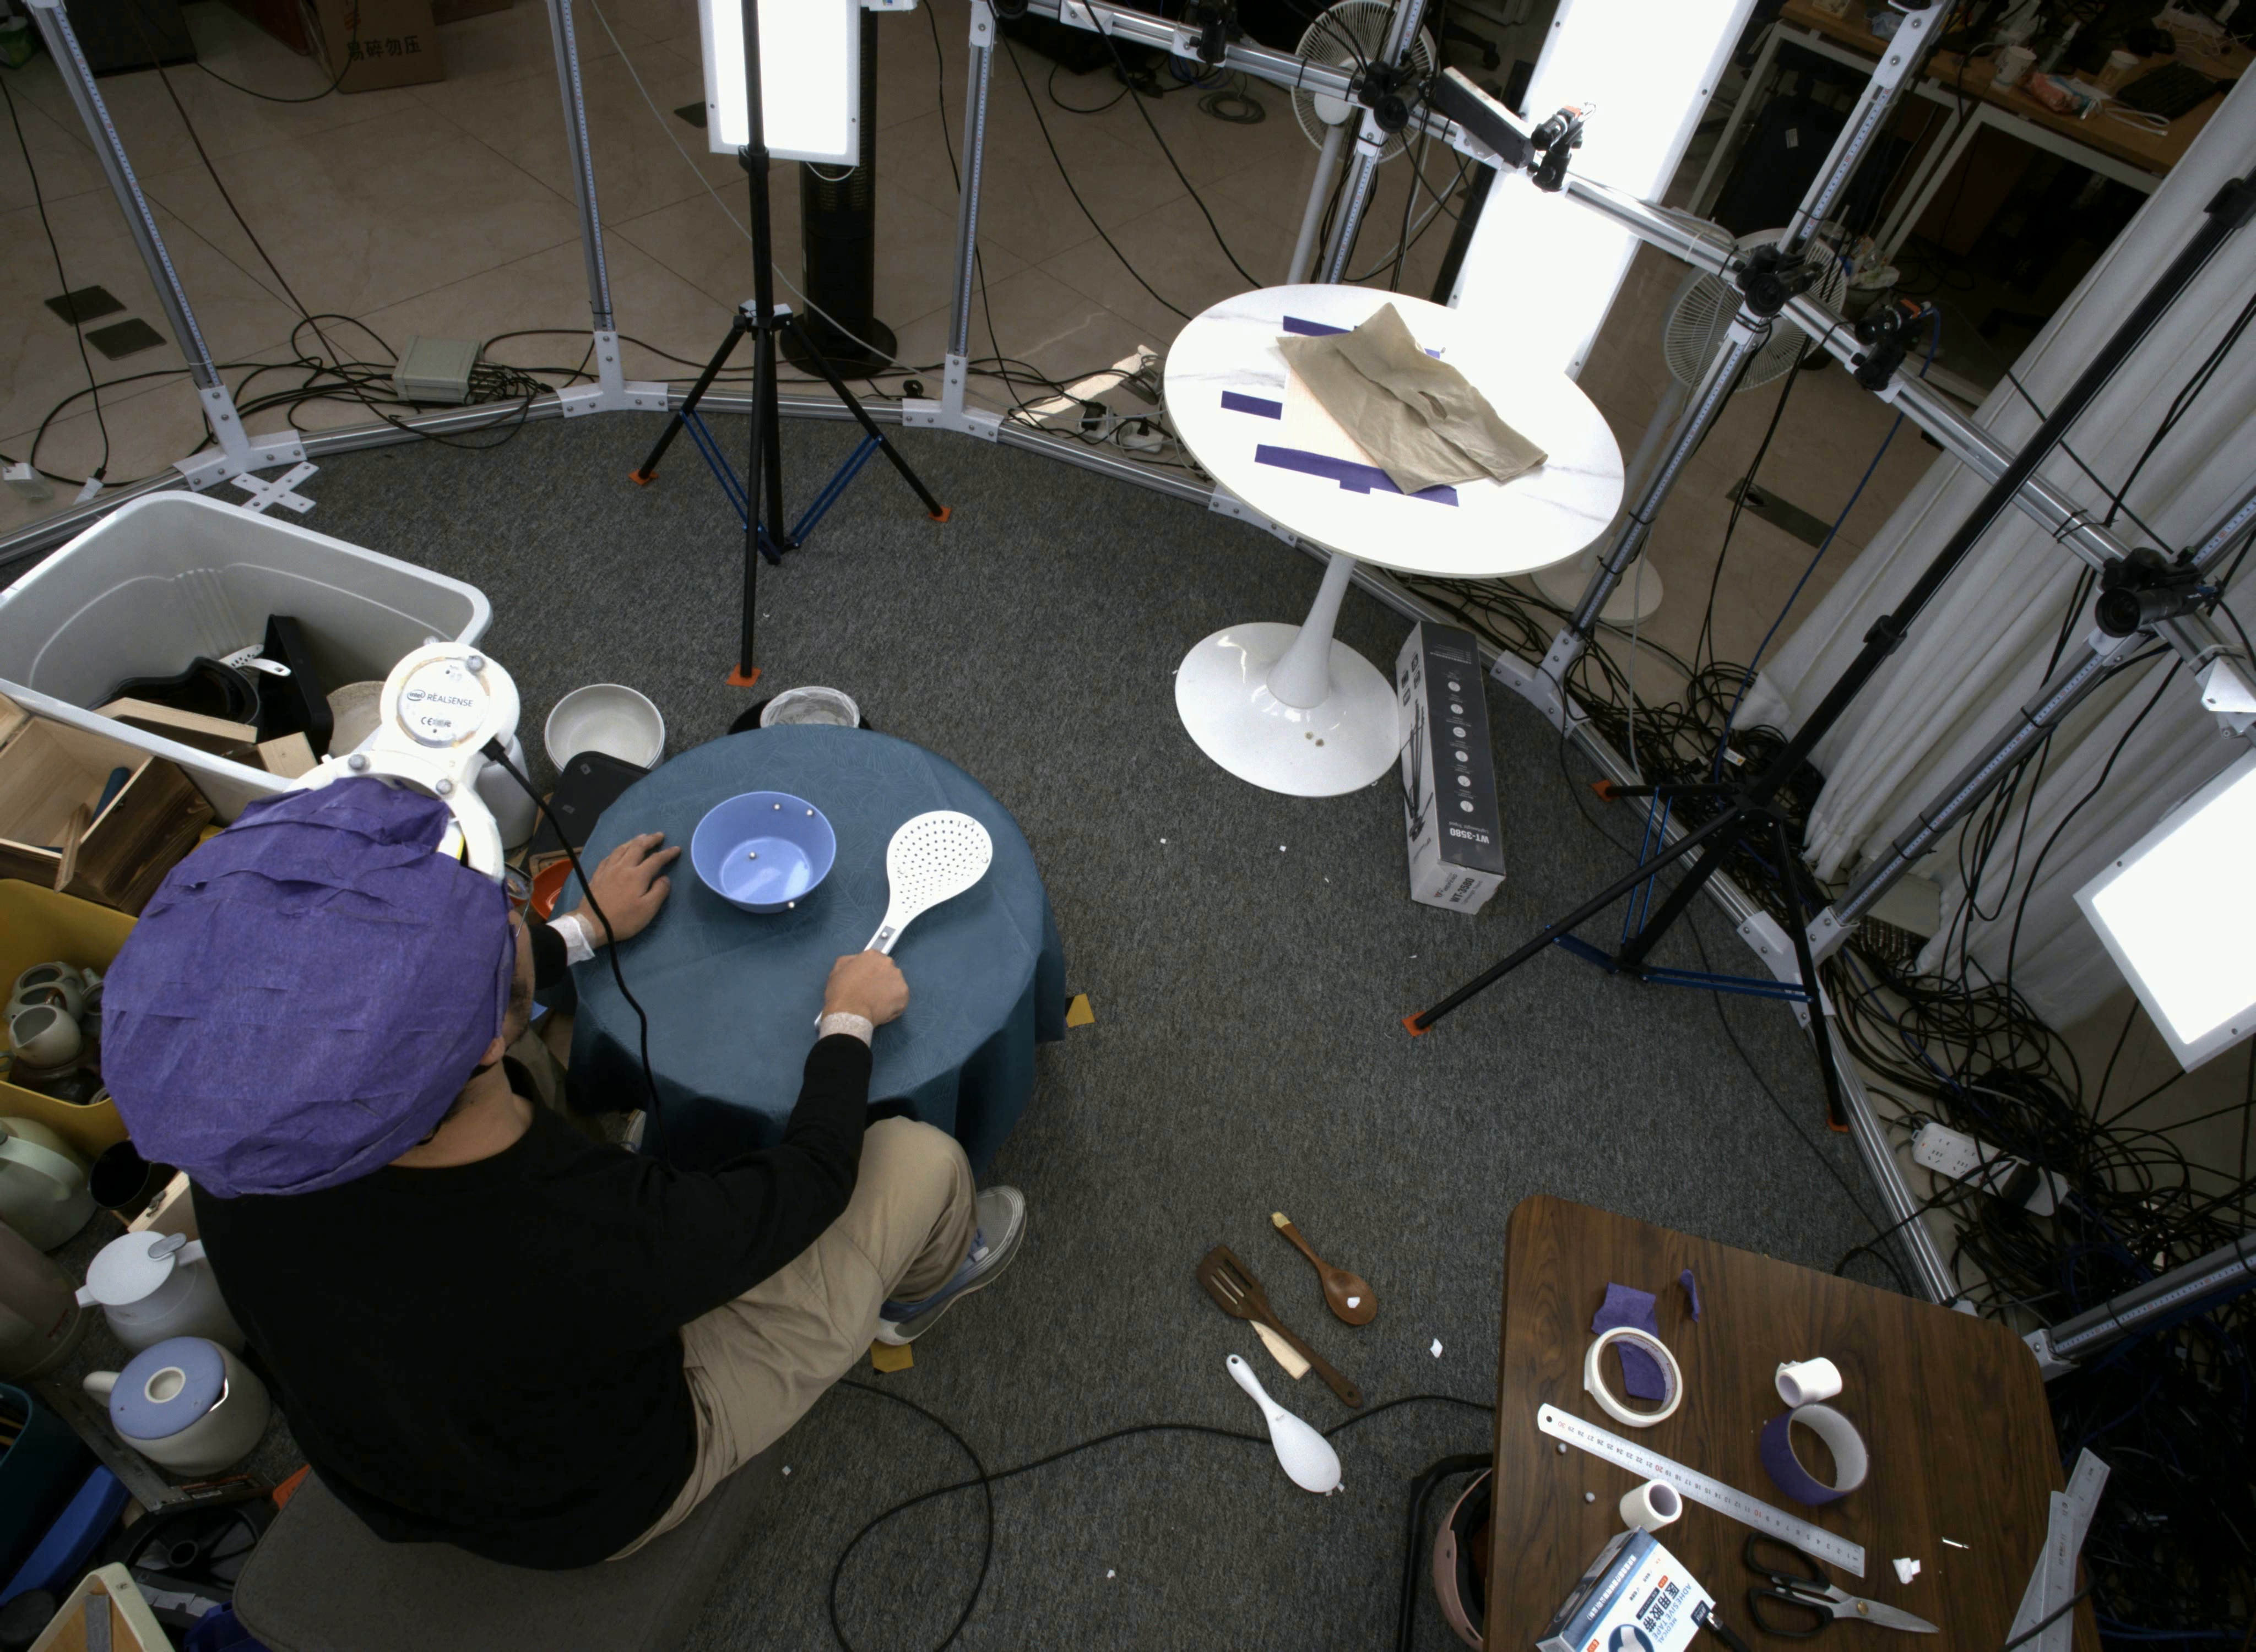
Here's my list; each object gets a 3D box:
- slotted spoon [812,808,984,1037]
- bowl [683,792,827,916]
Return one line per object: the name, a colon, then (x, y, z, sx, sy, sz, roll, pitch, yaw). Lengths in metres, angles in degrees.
slotted spoon: (-0.296, 0.115, 1.636, 0.133, 0.047, 0.347, 20, 52, 12)
bowl: (-0.467, 0.044, 1.629, 0.175, 0.072, 0.173, 7, 53, -8)
